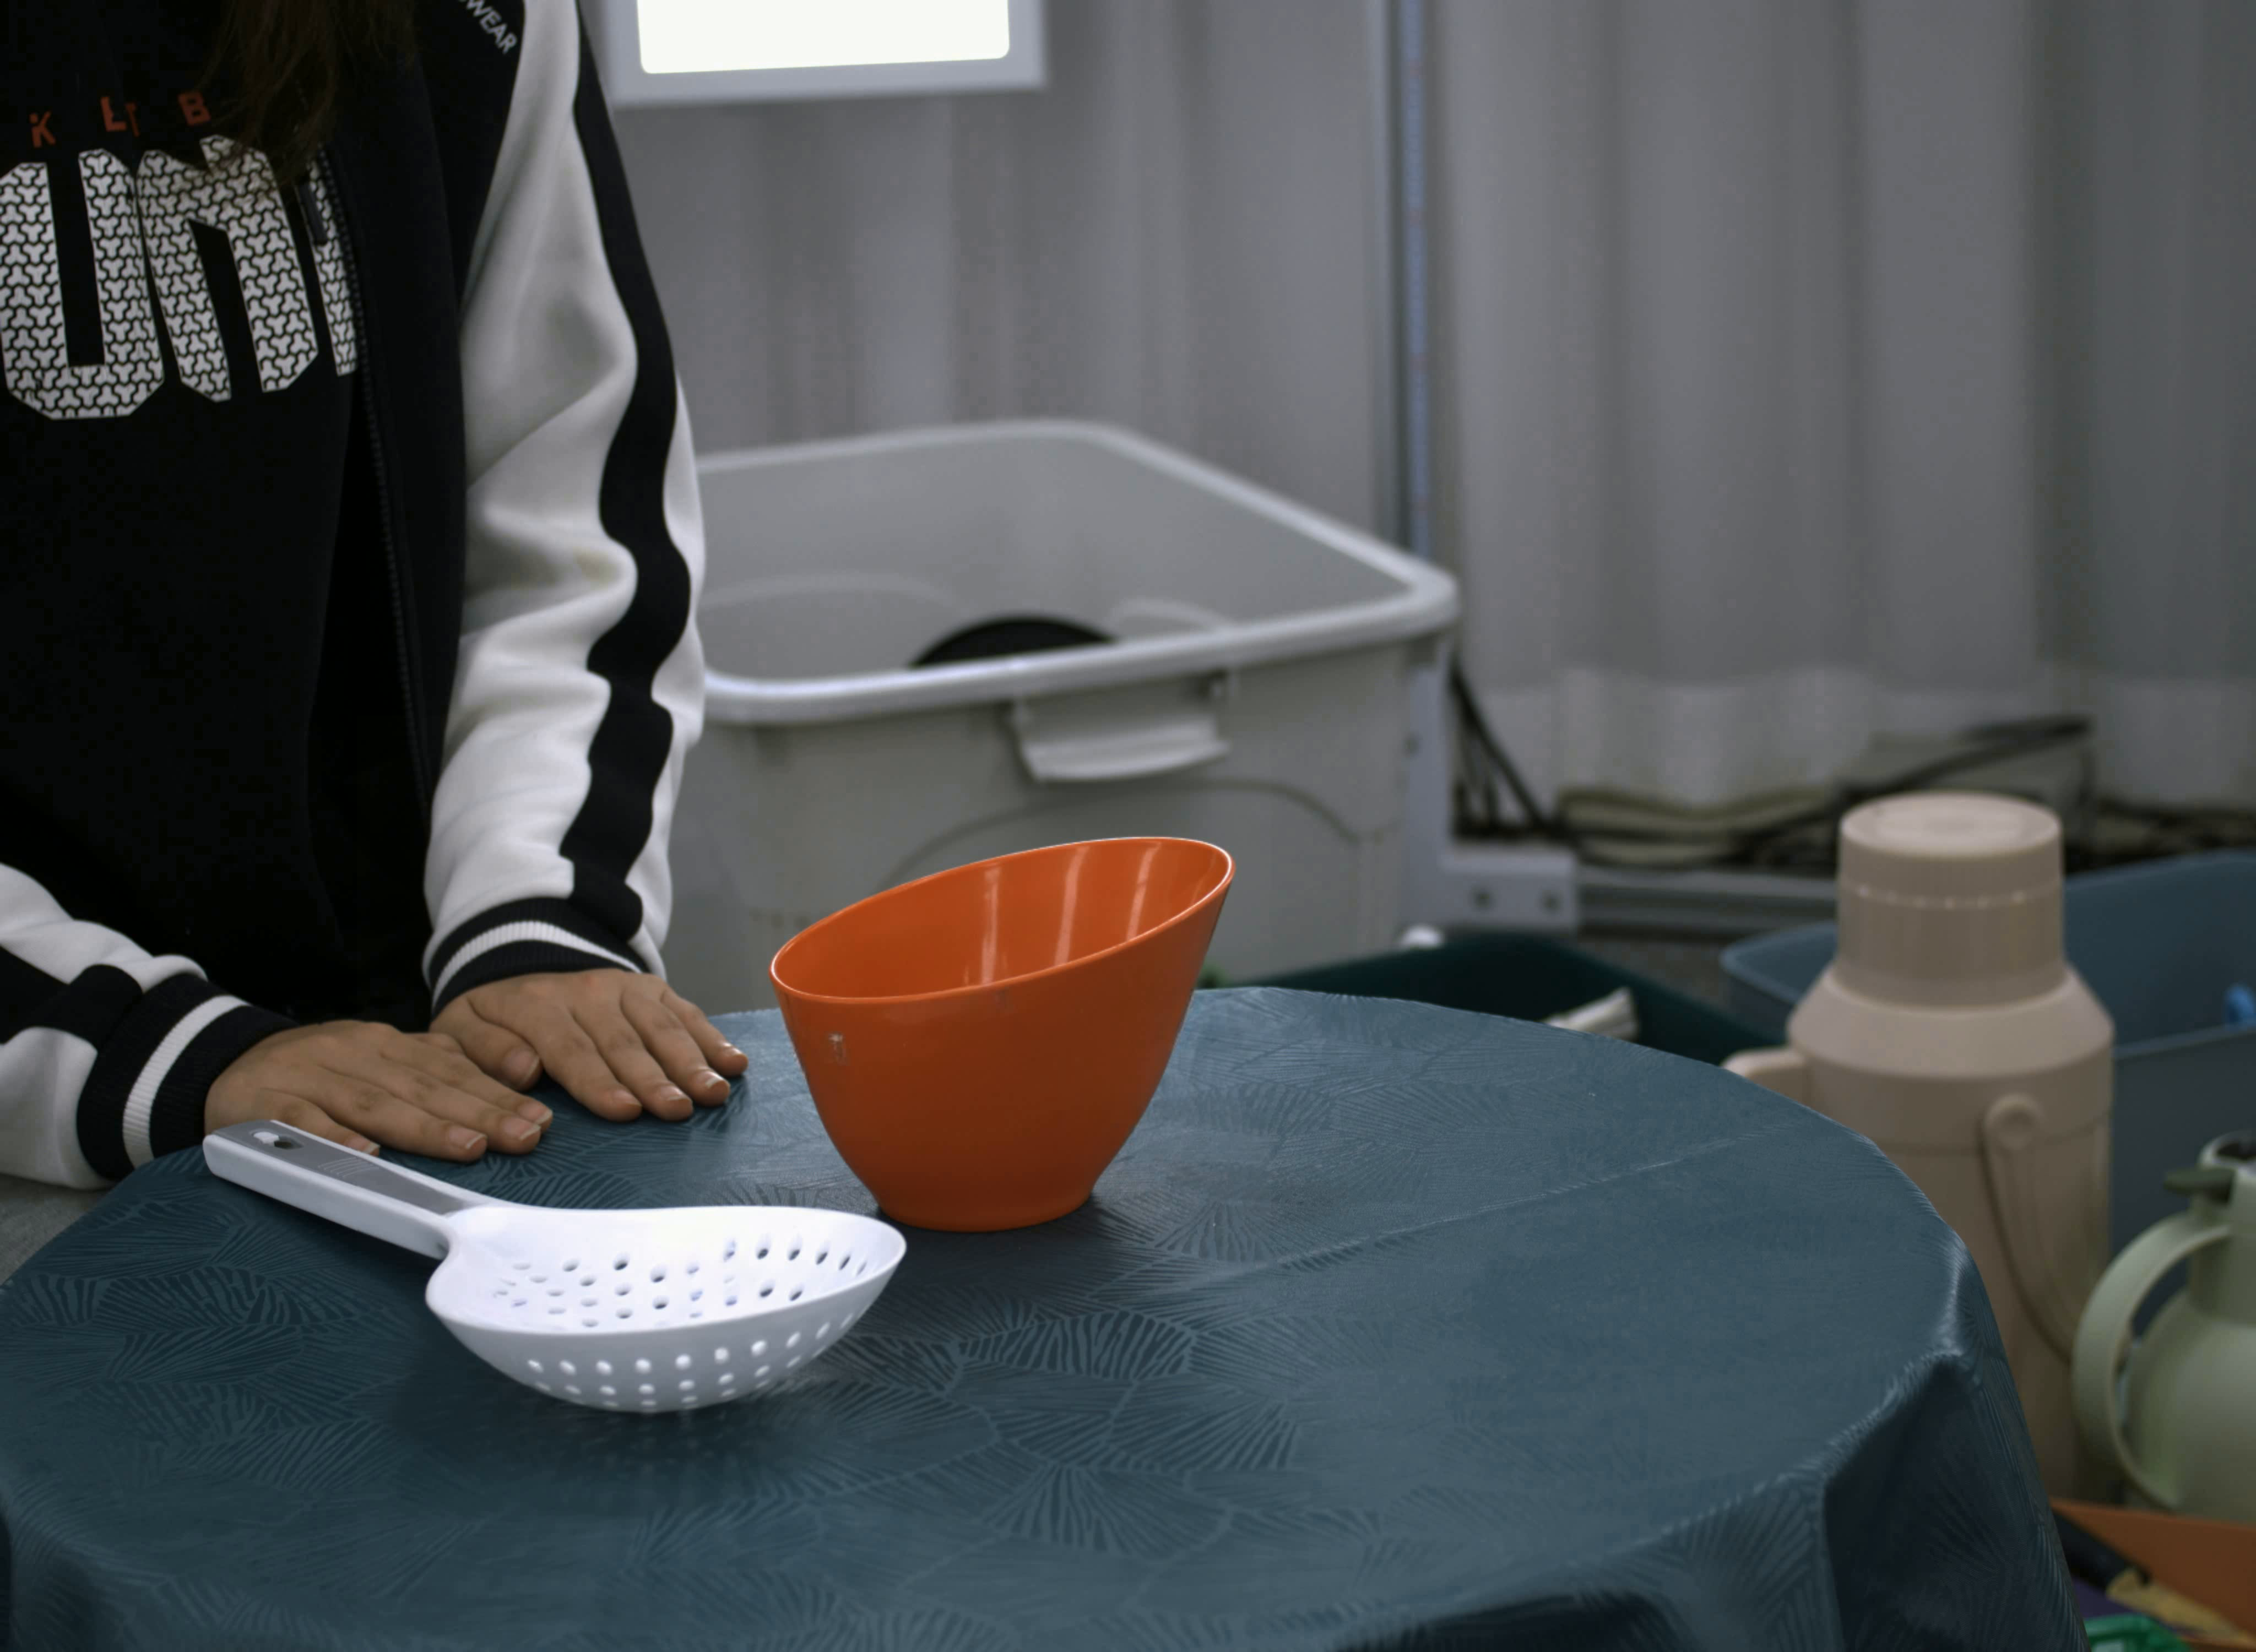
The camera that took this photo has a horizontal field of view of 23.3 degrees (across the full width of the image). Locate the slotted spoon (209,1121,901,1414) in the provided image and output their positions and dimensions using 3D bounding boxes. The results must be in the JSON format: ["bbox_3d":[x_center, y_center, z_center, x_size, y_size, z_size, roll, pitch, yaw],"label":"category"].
[{"bbox_3d":[-0.192,0.122,1.637,0.135,0.045,0.352,-11,16,-33],"label":"slotted spoon"}]

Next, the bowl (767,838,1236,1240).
[{"bbox_3d":[-0.037,0.069,1.702,0.147,0.104,0.149,-4,17,1],"label":"bowl"}]
